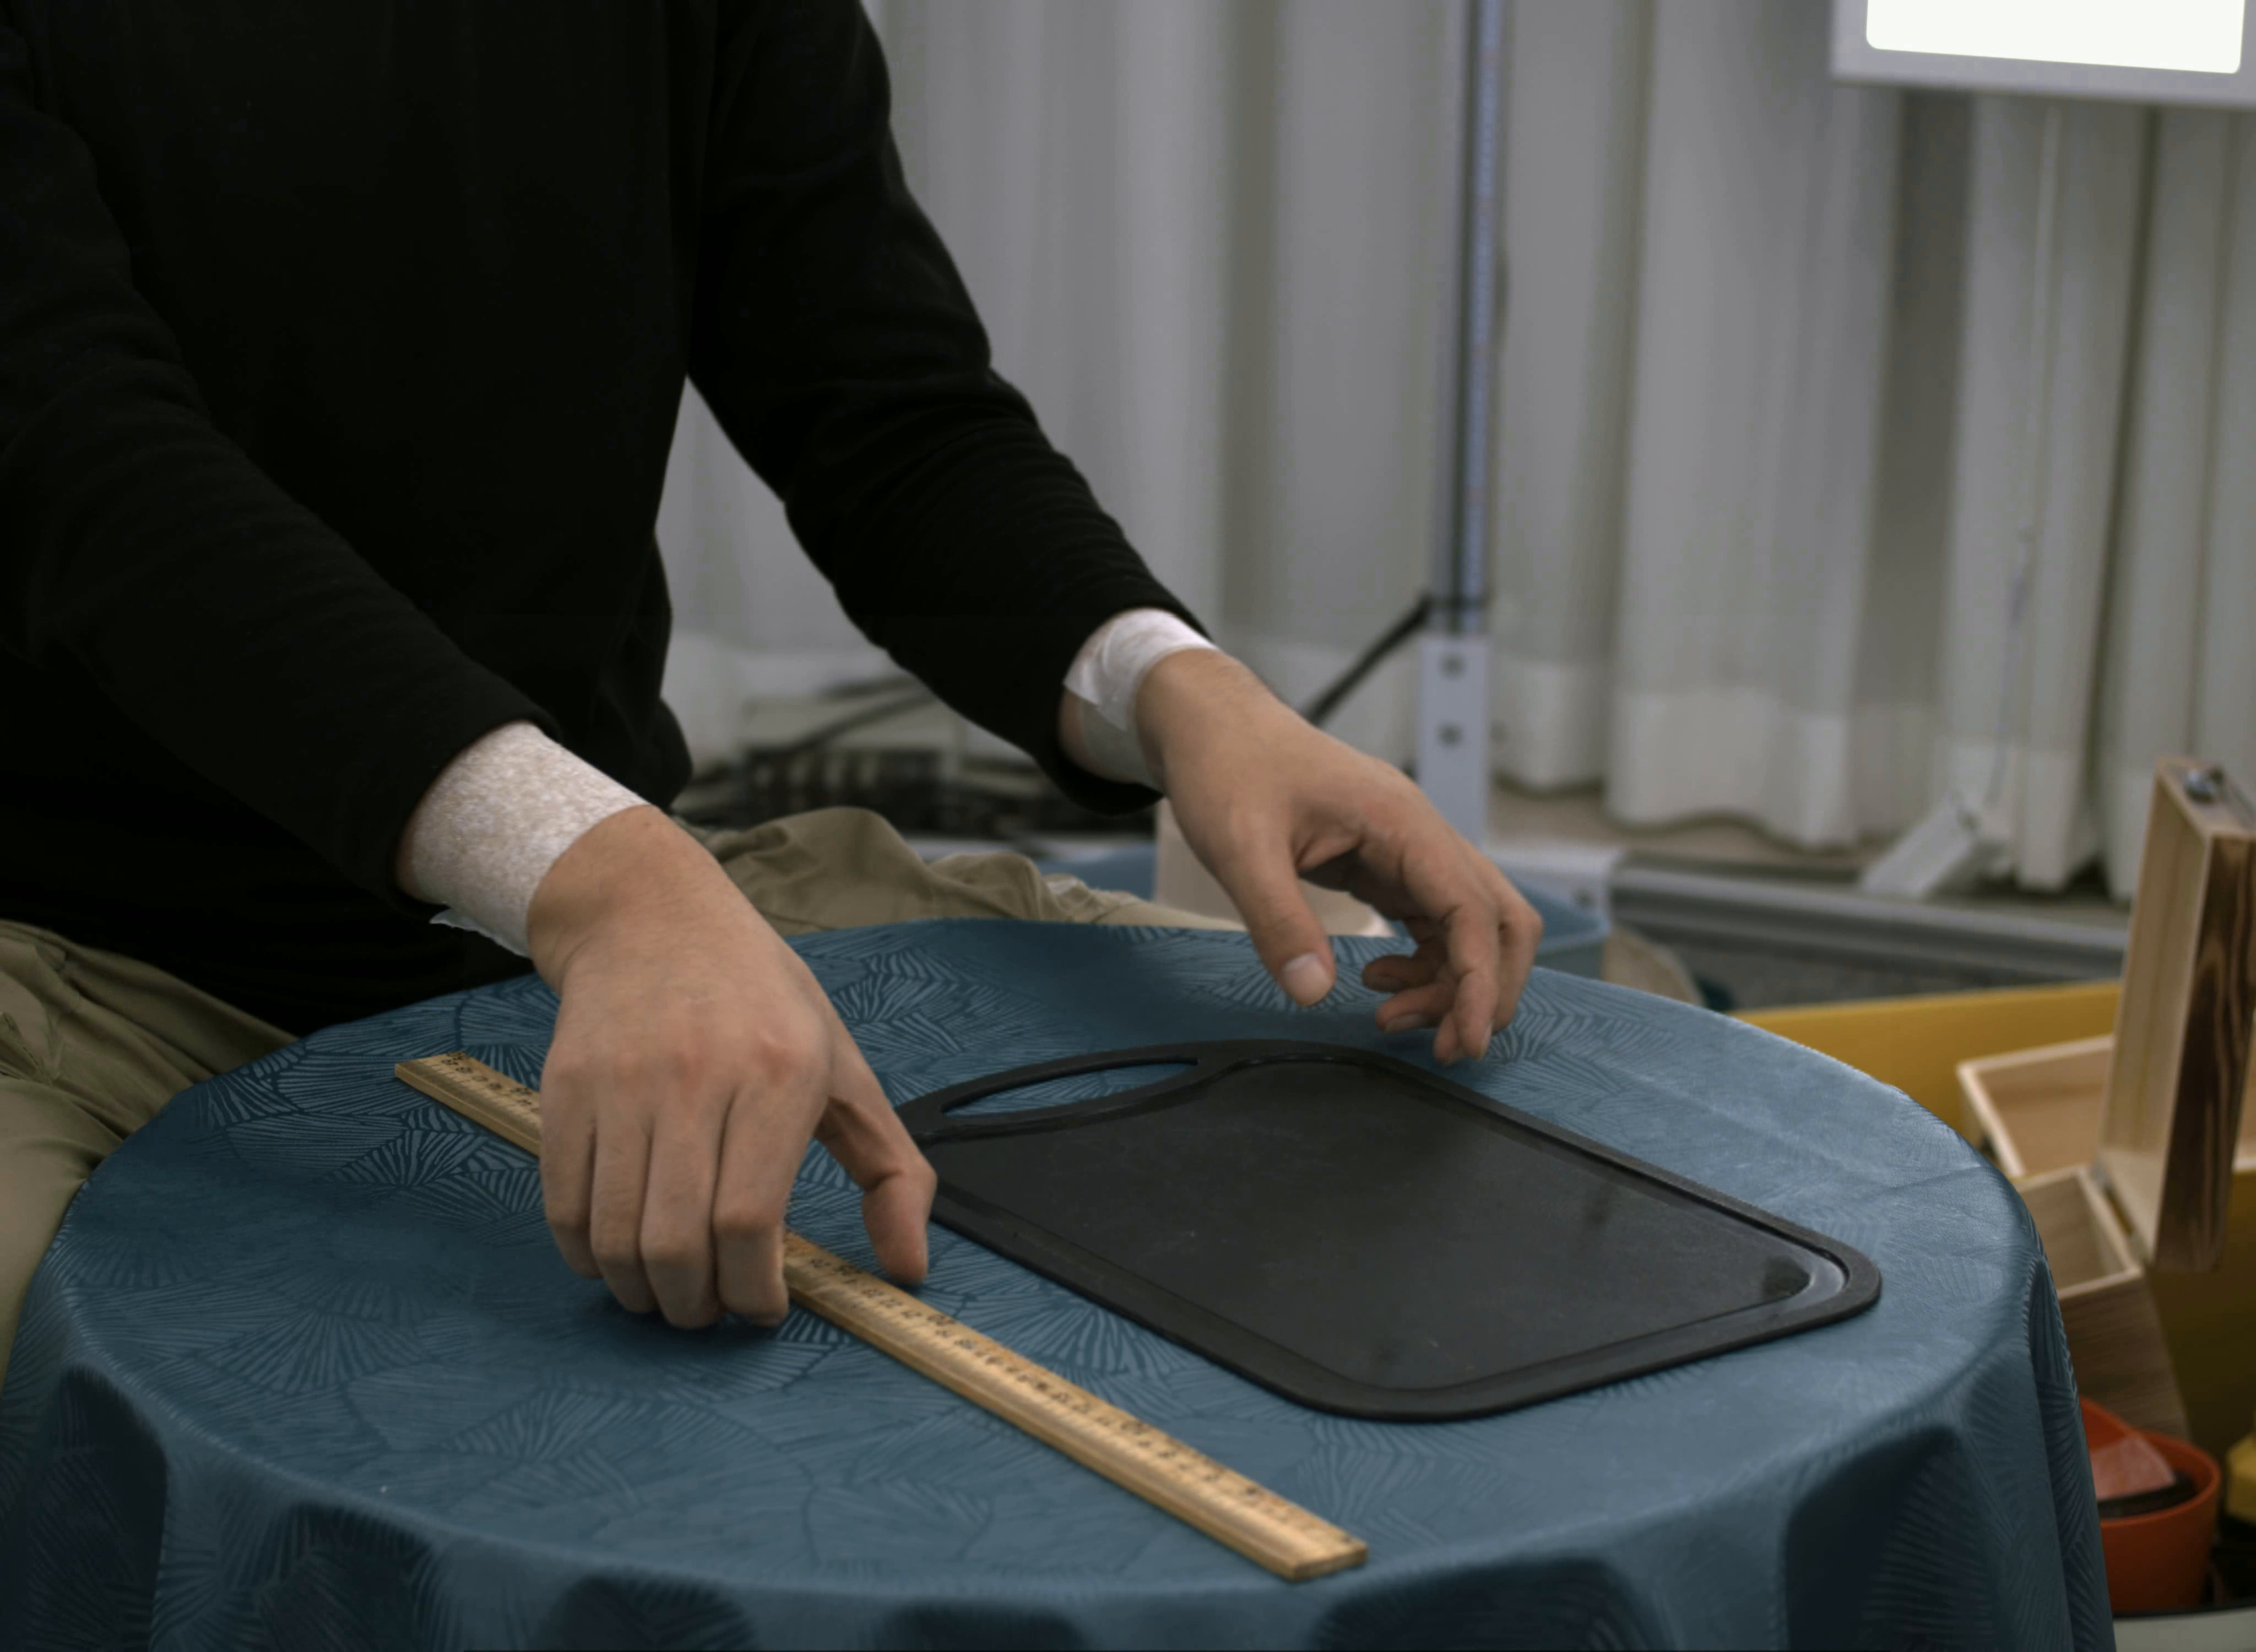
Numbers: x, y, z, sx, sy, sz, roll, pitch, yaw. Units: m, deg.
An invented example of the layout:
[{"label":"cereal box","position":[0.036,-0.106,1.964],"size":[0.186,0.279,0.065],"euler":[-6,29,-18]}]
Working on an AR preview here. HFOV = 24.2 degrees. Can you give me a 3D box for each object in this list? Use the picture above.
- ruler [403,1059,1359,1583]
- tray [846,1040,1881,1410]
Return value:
[{"label":"ruler","position":[-0.088,0.133,1.533],"size":[0.027,0.006,0.494],"euler":[-6,16,-34]},{"label":"tray","position":[0.061,0.114,1.604],"size":[0.212,0.010,0.321],"euler":[-10,18,-34]}]
